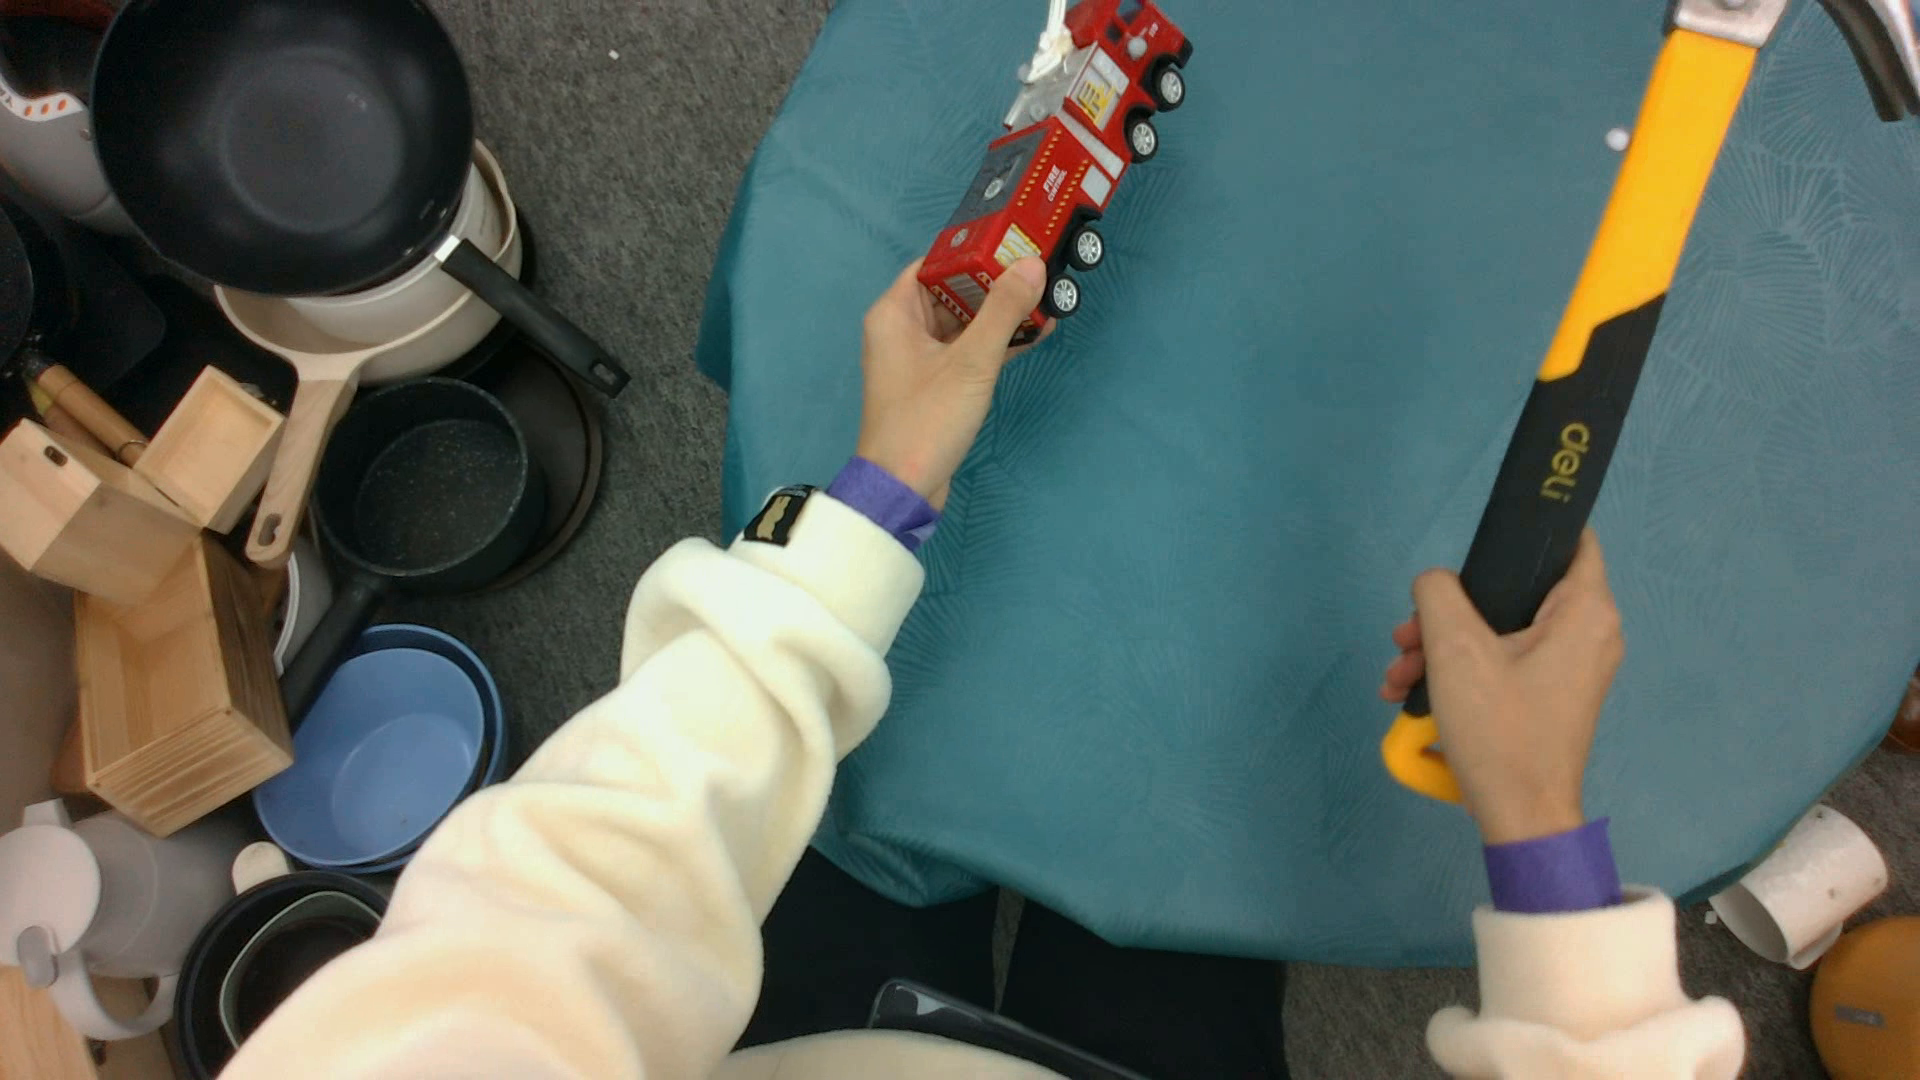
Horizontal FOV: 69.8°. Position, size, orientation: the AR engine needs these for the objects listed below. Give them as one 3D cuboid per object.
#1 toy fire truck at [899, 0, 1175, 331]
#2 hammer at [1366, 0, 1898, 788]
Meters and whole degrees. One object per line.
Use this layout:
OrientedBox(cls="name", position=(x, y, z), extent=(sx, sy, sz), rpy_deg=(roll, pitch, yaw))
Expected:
OrientedBox(cls="toy fire truck", position=(0.035, -0.169, 0.596), extent=(0.070, 0.054, 0.168), rpy_deg=(38, 67, -33))
OrientedBox(cls="hammer", position=(0.223, -0.068, 0.503), extent=(0.131, 0.032, 0.338), rpy_deg=(19, 98, 8))
